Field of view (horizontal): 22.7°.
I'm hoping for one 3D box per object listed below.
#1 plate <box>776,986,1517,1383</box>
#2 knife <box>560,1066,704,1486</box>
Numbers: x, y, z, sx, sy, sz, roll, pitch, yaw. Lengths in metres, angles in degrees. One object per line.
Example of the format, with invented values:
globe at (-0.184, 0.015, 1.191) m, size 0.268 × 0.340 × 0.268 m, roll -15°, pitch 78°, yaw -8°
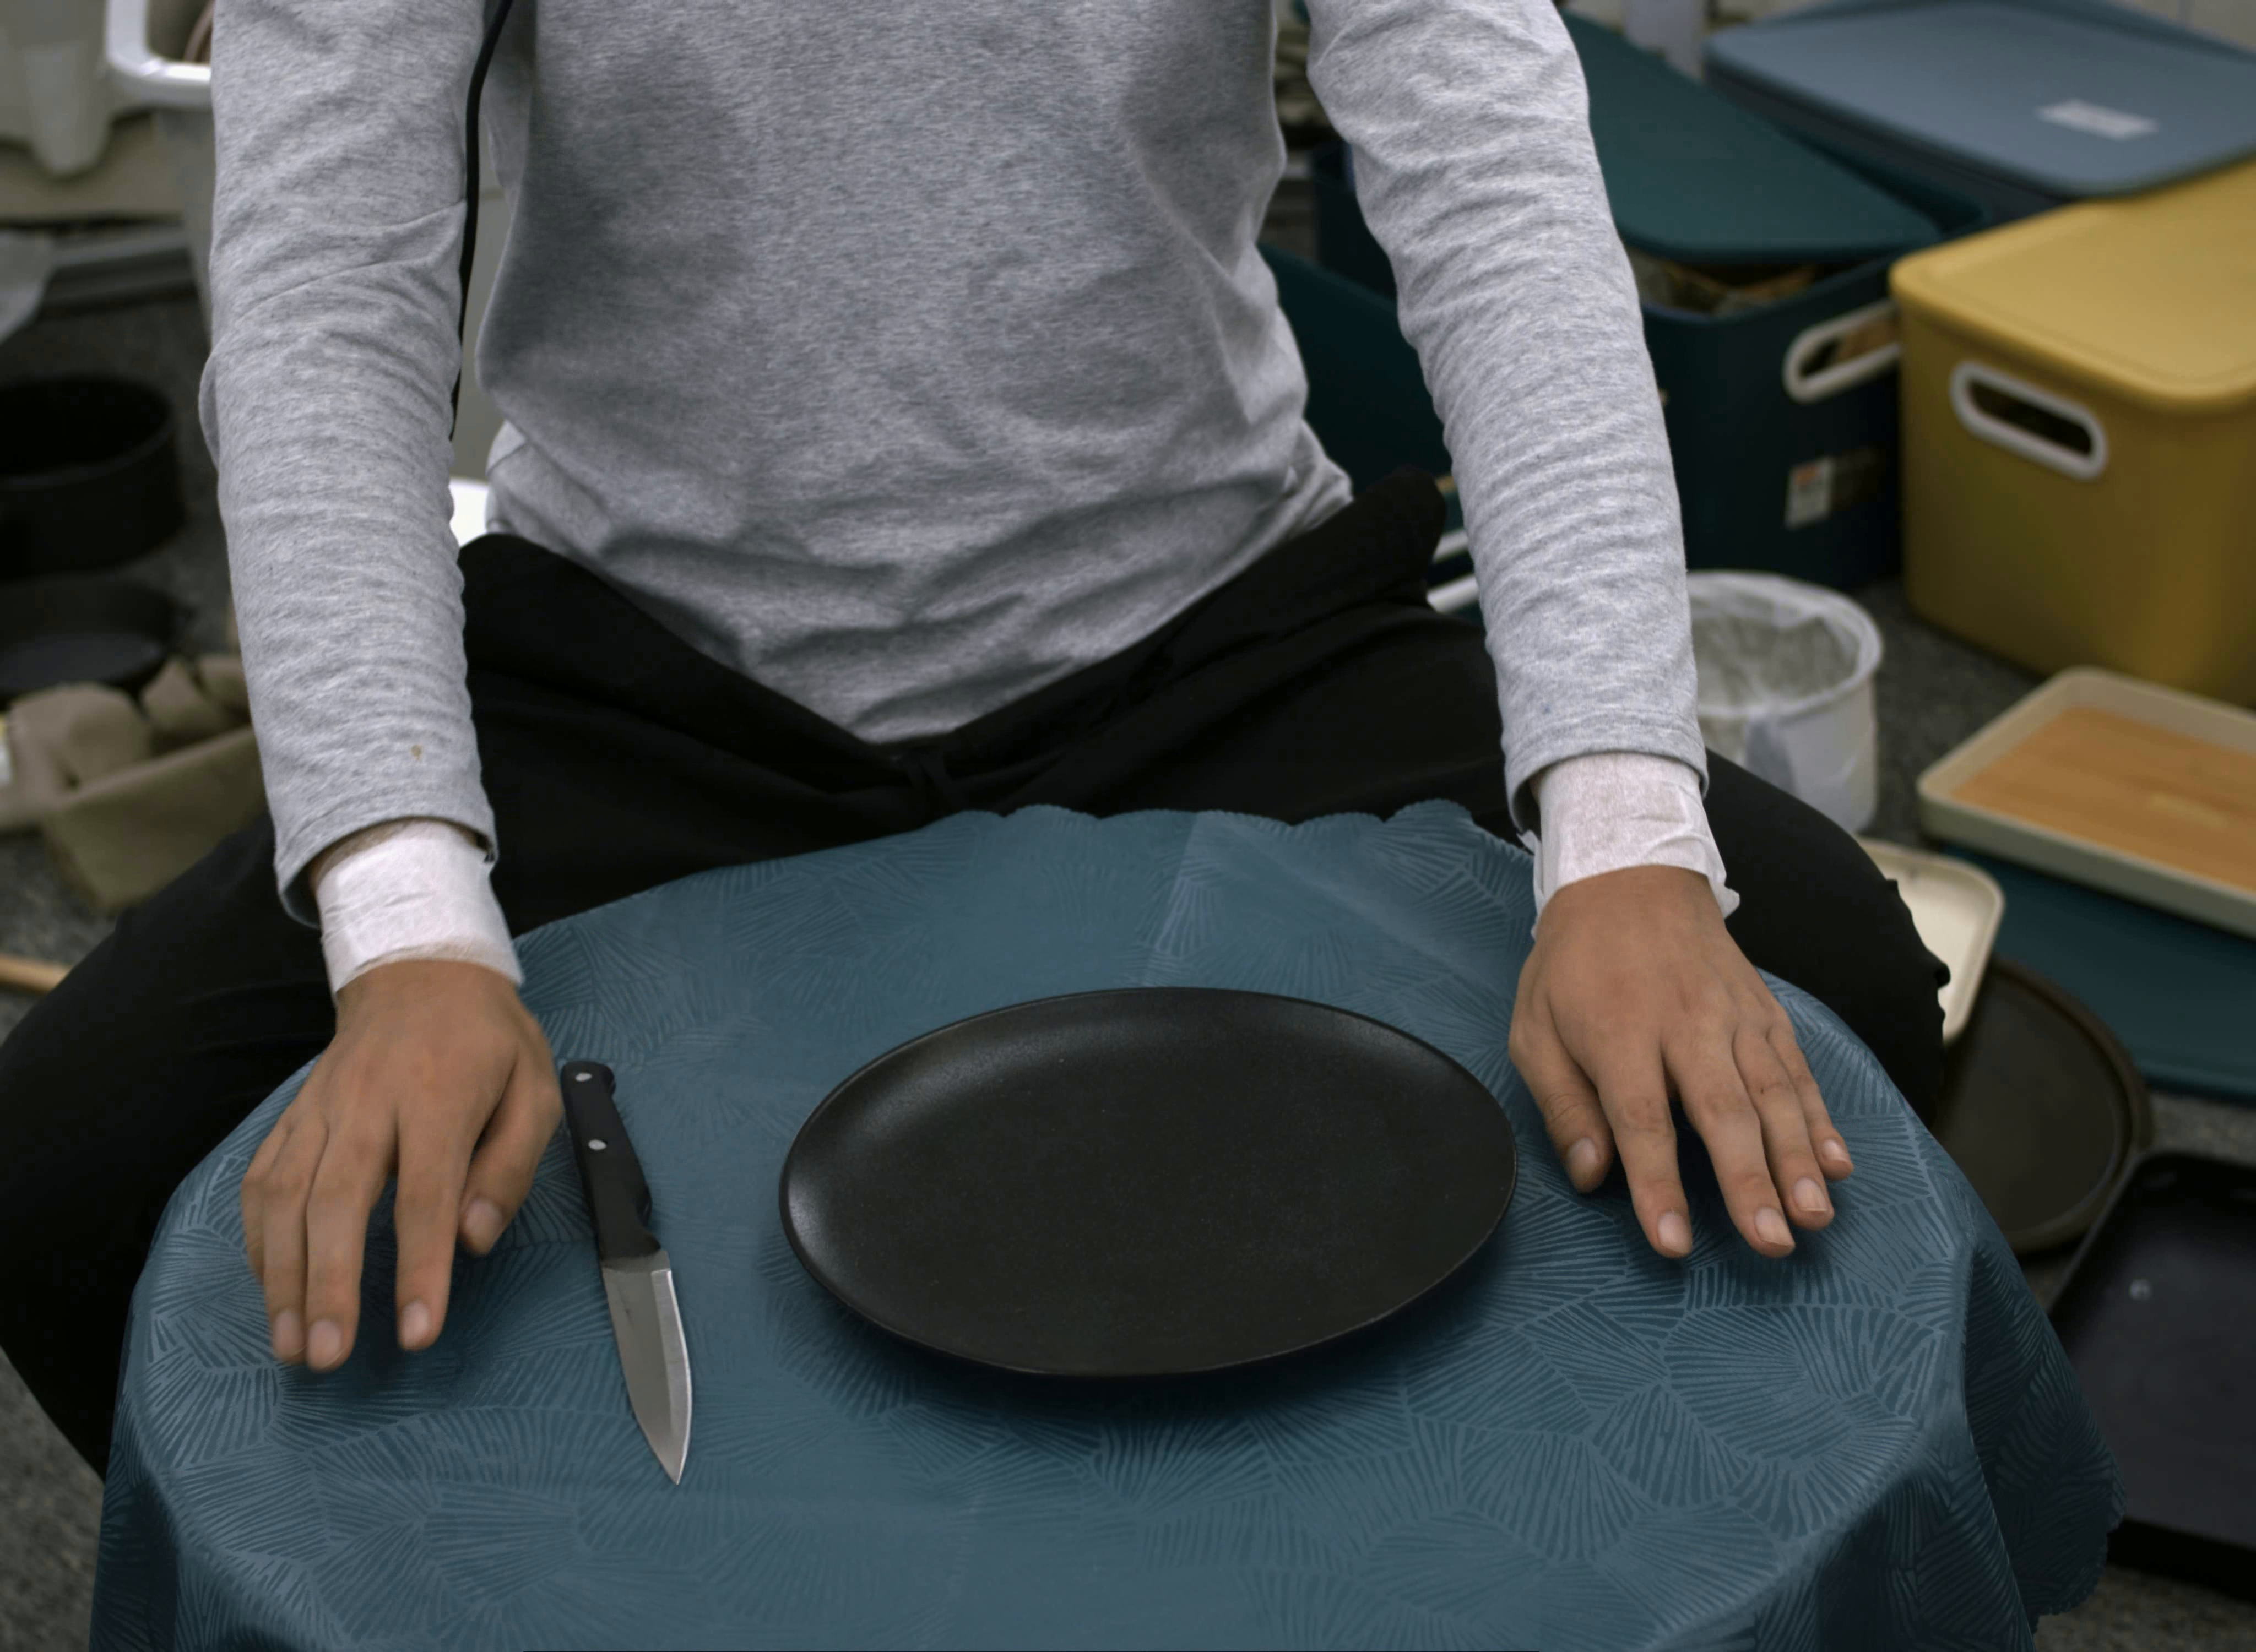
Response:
plate at (0.006, 0.121, 1.838) m, size 0.243 × 0.023 × 0.248 m, roll -2°, pitch 27°, yaw 1°
knife at (-0.162, 0.145, 1.819) m, size 0.024 × 0.016 × 0.241 m, roll -7°, pitch 30°, yaw -10°
